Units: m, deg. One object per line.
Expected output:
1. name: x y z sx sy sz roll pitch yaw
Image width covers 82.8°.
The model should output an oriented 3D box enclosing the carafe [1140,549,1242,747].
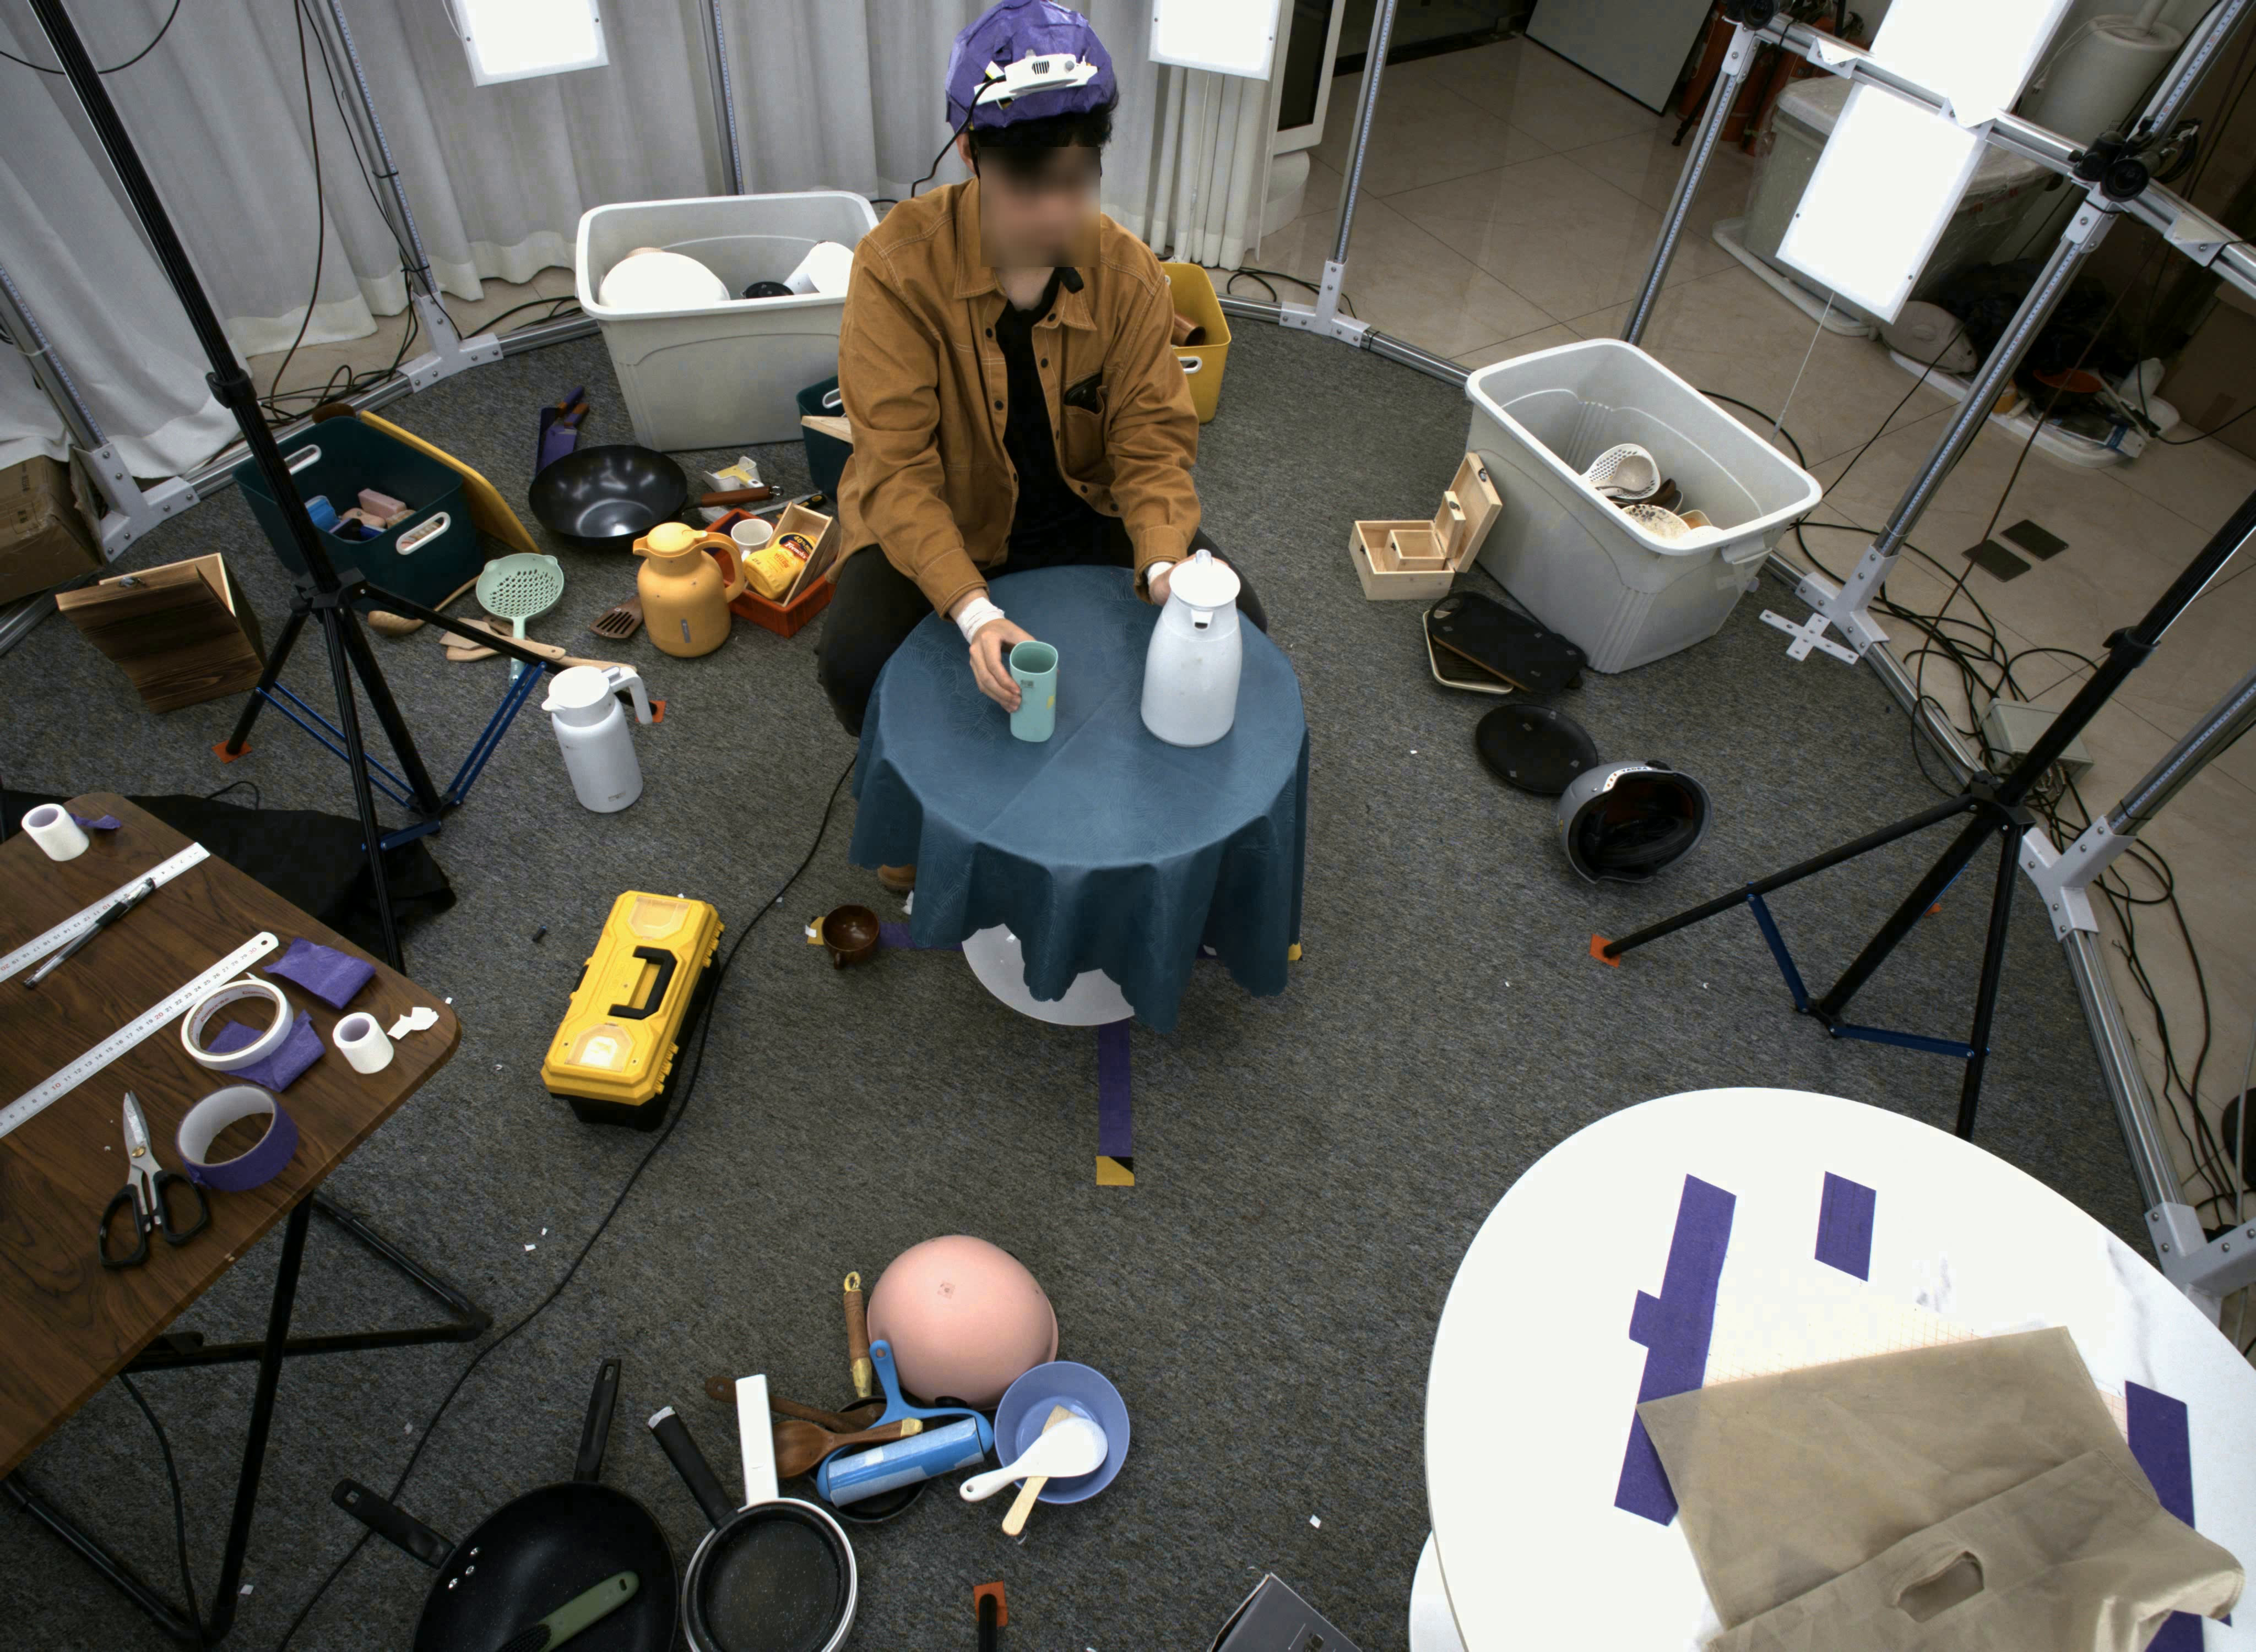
1. carafe: 0.090 -0.252 1.734 0.132 0.242 0.172 5 49 0

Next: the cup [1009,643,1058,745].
1. cup: -0.129 -0.178 1.736 0.066 0.129 0.068 2 49 -3
